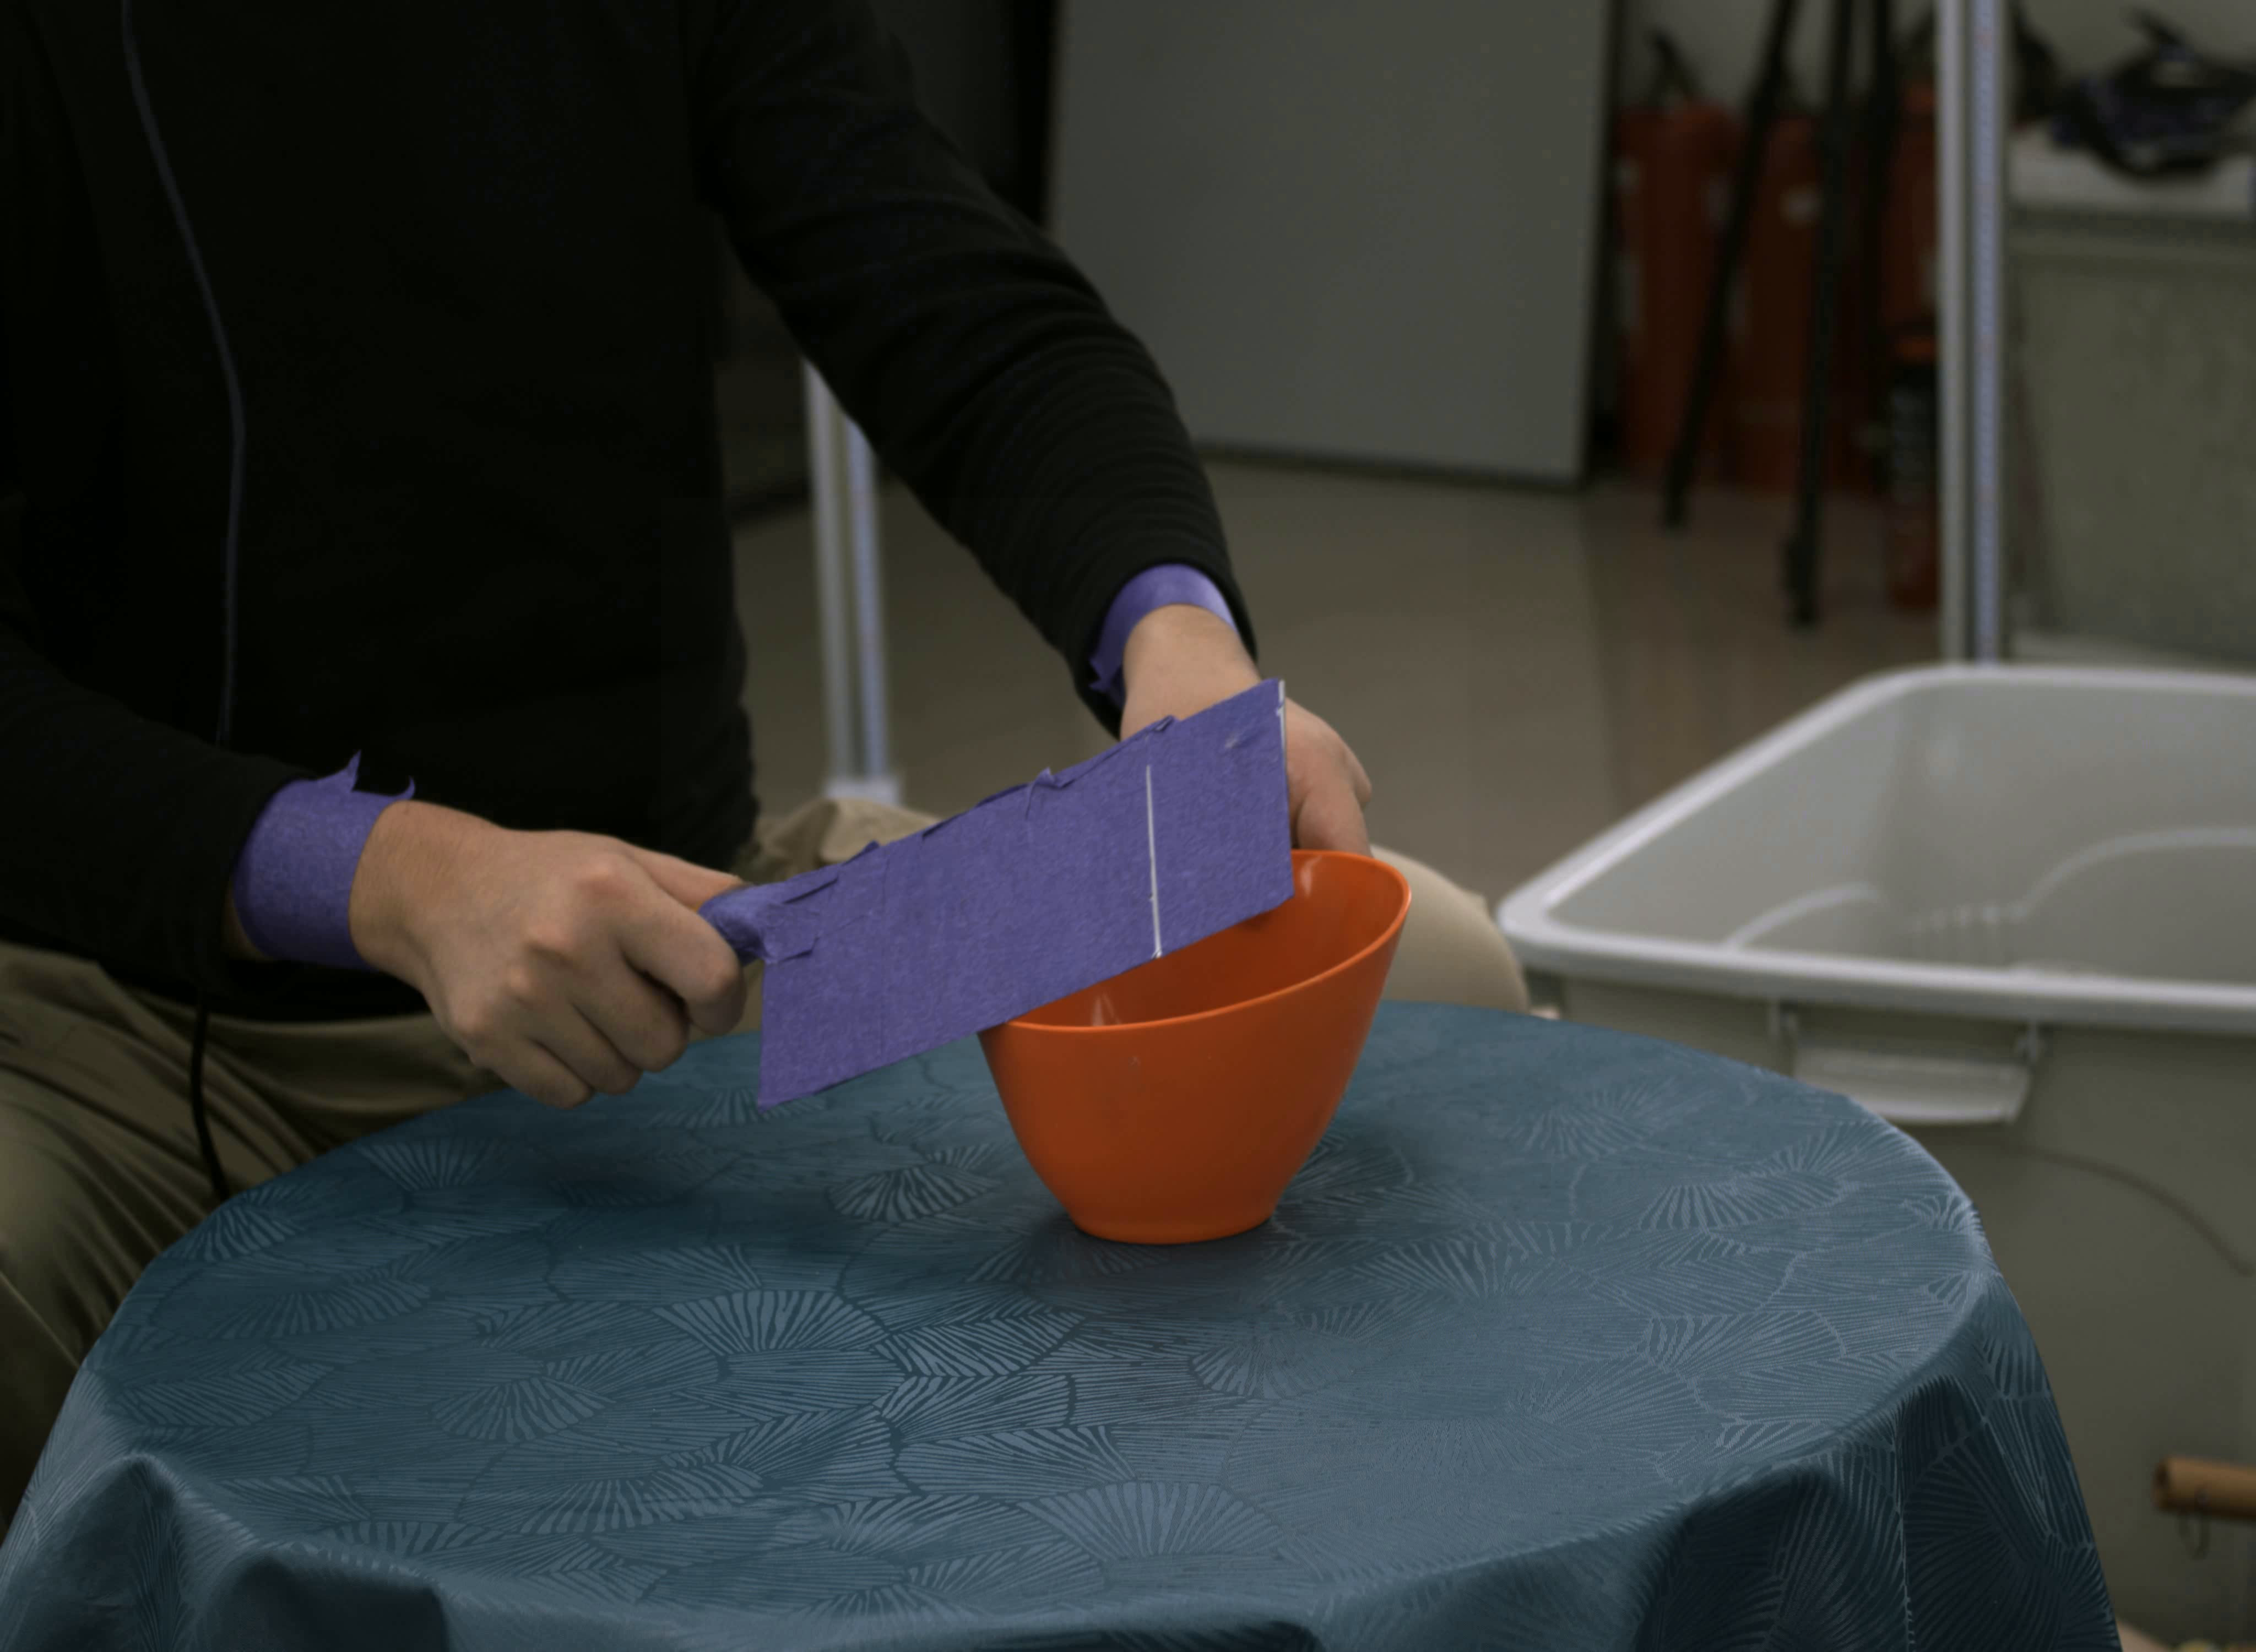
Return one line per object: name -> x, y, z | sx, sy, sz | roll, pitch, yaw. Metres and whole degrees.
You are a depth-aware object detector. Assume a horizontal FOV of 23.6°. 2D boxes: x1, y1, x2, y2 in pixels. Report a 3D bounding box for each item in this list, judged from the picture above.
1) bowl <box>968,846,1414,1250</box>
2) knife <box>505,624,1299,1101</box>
bowl -> 0.022, 0.075, 1.739 | 0.146, 0.106, 0.148 | -3, 16, 0
knife -> -0.078, 0.034, 1.745 | 0.317, 0.032, 0.105 | -26, 44, 28
